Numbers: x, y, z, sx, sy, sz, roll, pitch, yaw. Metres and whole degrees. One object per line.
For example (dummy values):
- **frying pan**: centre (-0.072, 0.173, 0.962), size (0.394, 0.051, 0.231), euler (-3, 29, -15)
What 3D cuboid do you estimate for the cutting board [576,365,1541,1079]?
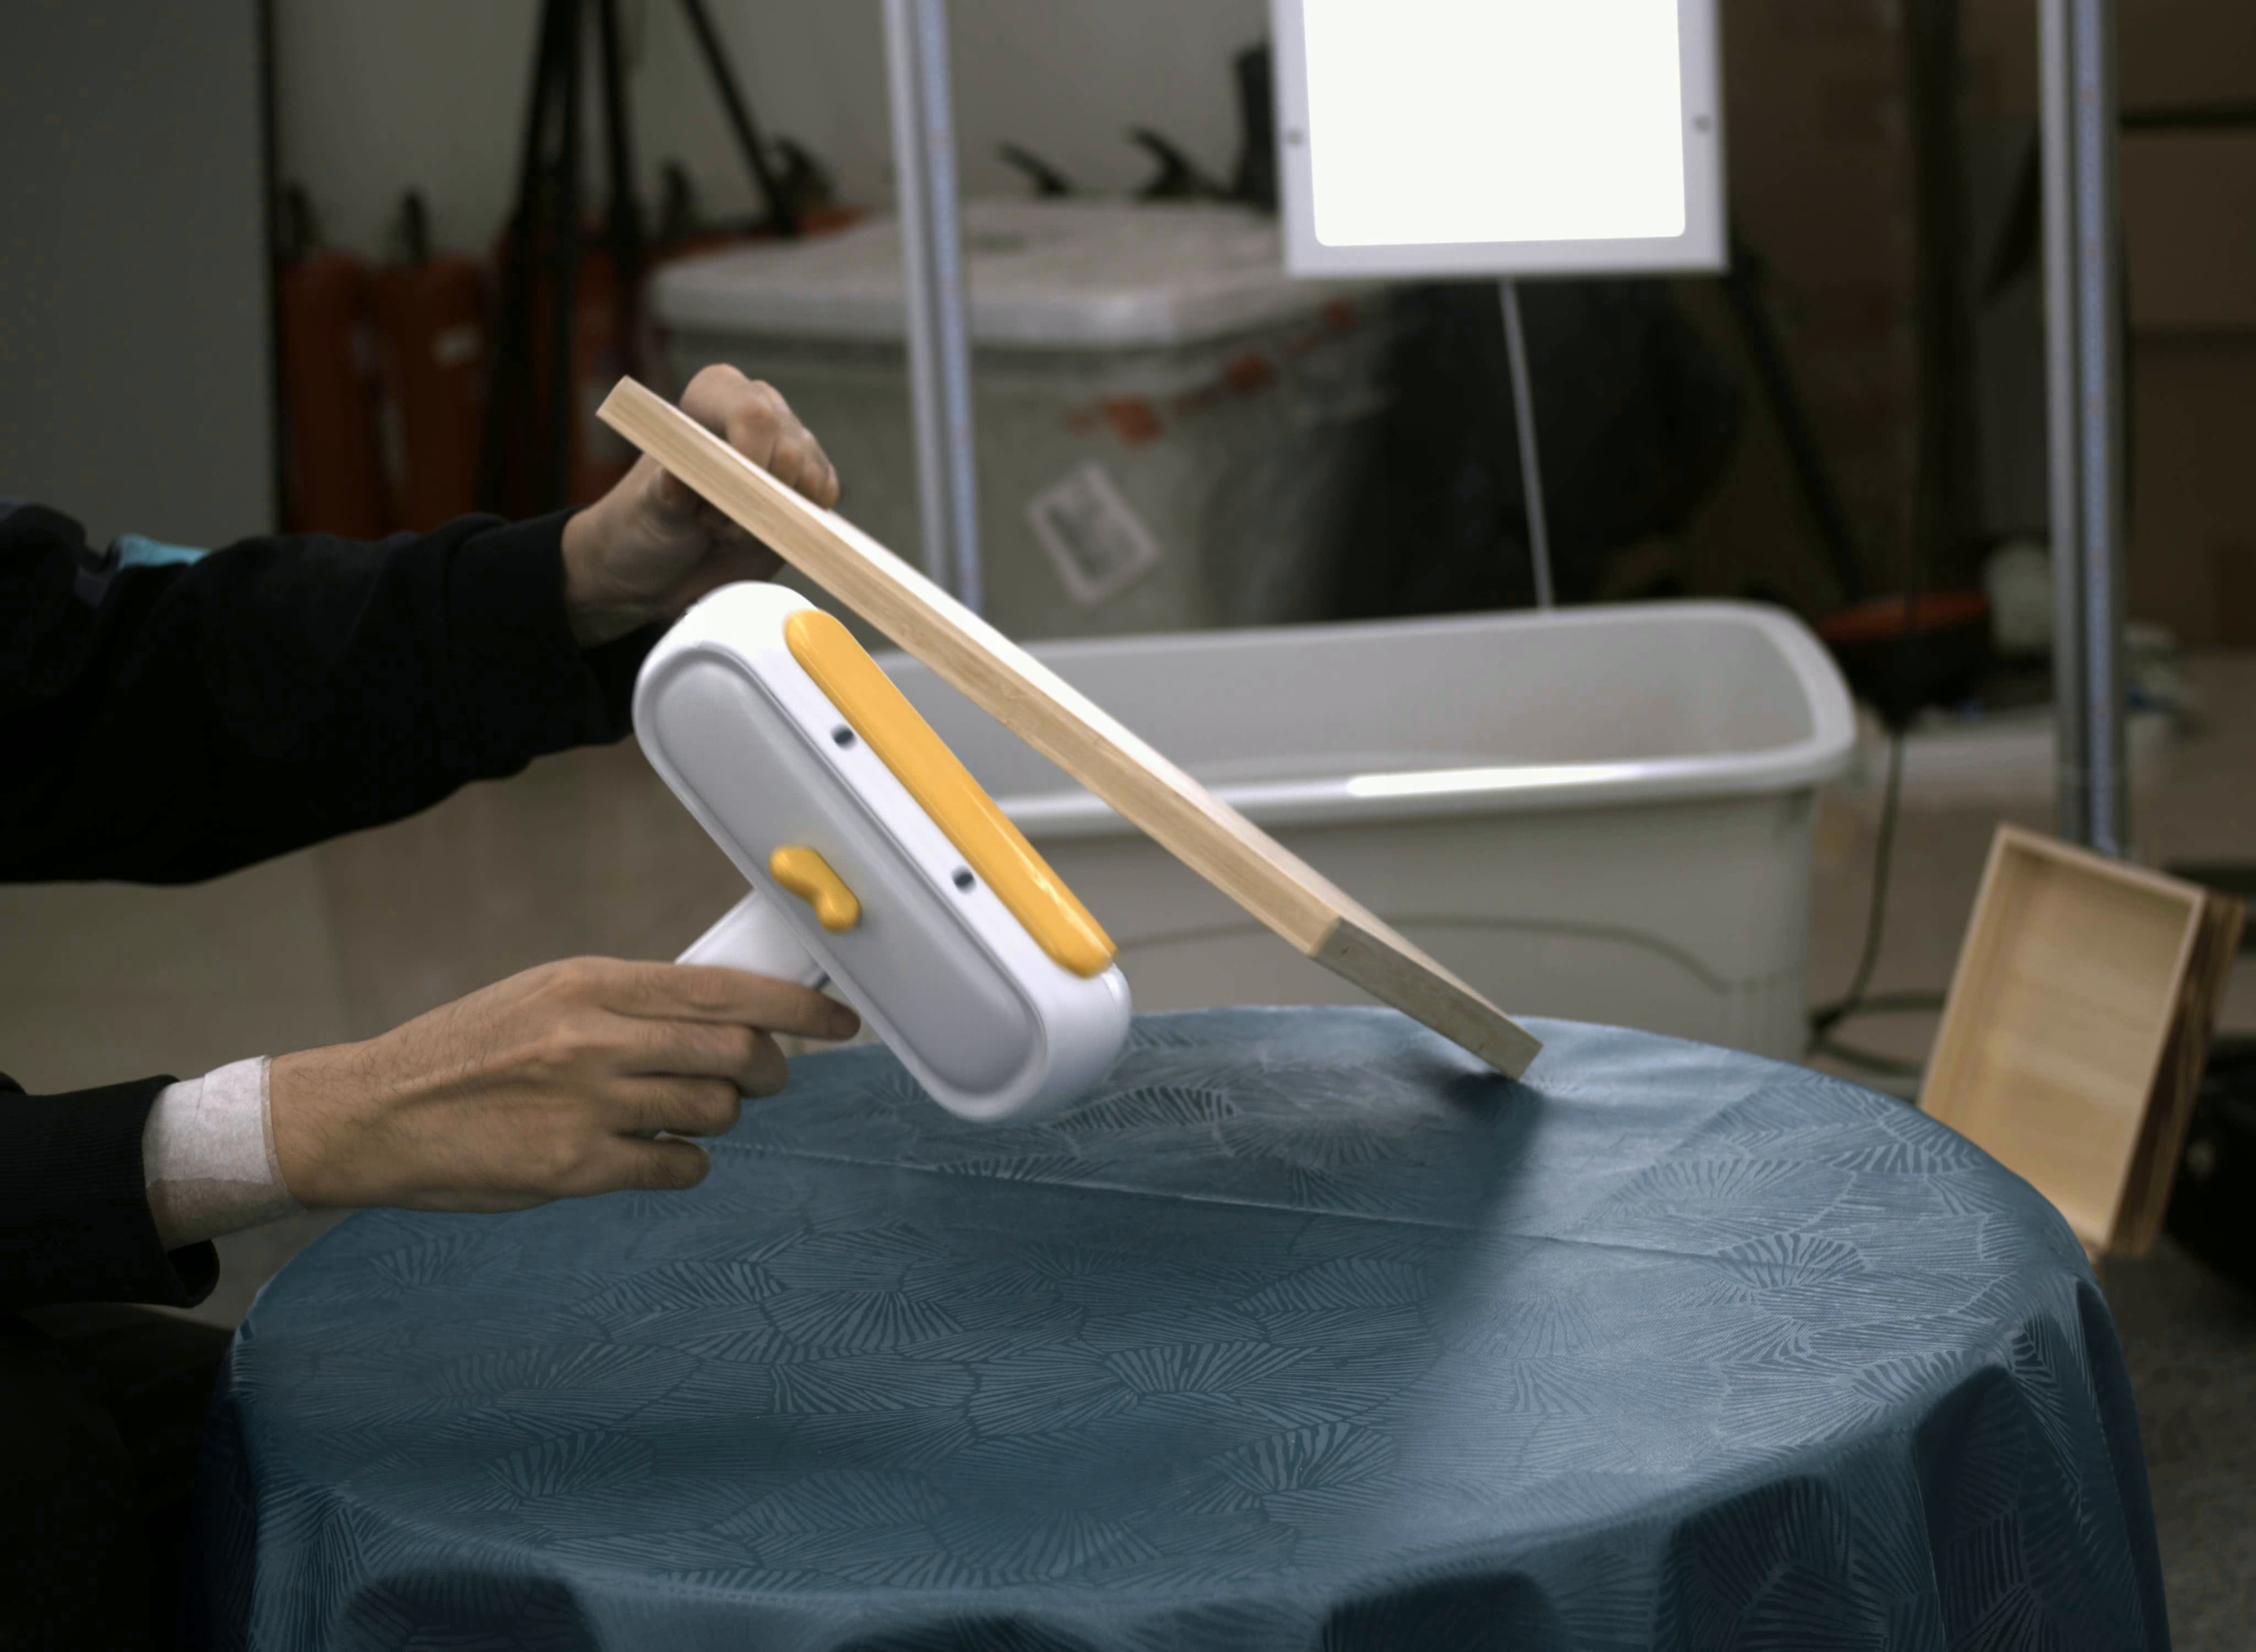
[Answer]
- **cutting board**: centre (-0.022, -0.035, 1.954), size (0.353, 0.023, 0.247), euler (37, 2, 25)

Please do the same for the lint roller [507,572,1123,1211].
- **lint roller**: centre (-0.120, 0.046, 1.718), size (0.195, 0.193, 0.073), euler (-46, -2, 28)
